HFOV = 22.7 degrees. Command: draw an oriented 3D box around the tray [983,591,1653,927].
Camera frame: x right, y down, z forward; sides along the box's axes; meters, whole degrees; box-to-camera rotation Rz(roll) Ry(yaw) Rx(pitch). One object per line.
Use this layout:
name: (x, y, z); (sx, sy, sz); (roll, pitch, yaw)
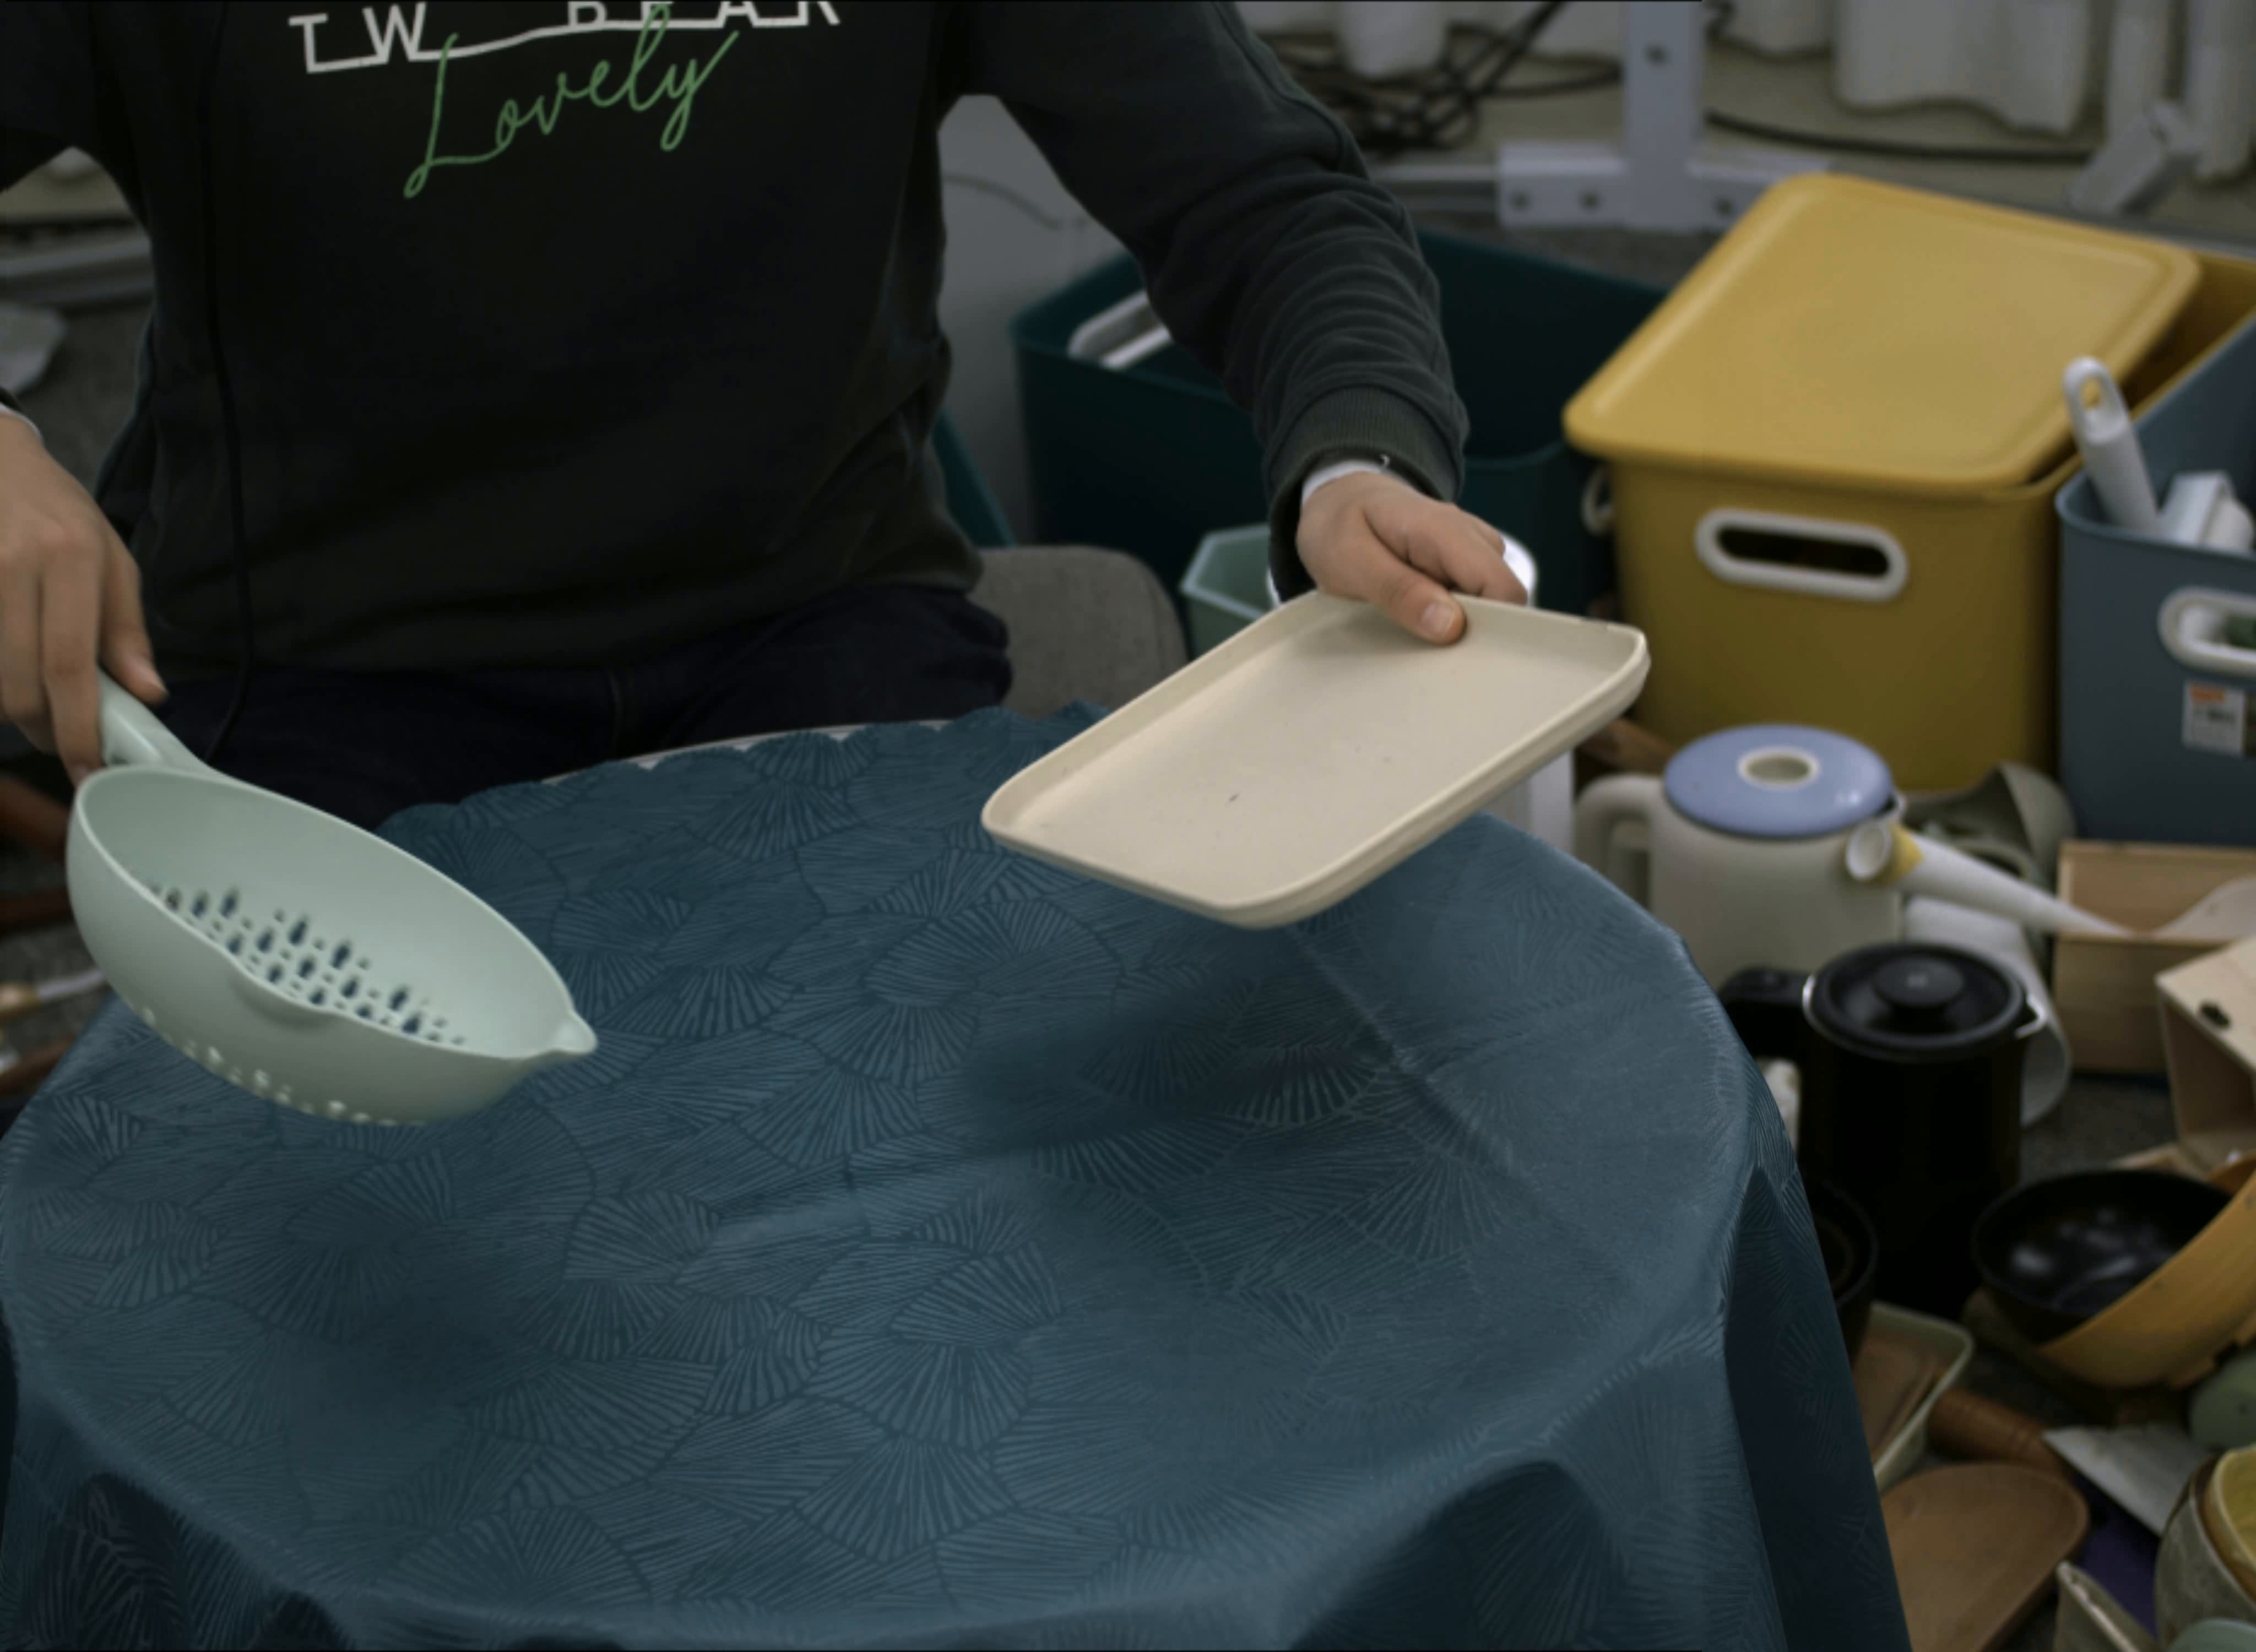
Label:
tray: (0.061, -0.023, 1.855); (0.172, 0.017, 0.239); (-32, 18, -18)

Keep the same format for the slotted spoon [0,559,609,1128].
slotted spoon: (-0.307, -0.010, 1.804); (0.169, 0.075, 0.362); (16, 25, -47)
